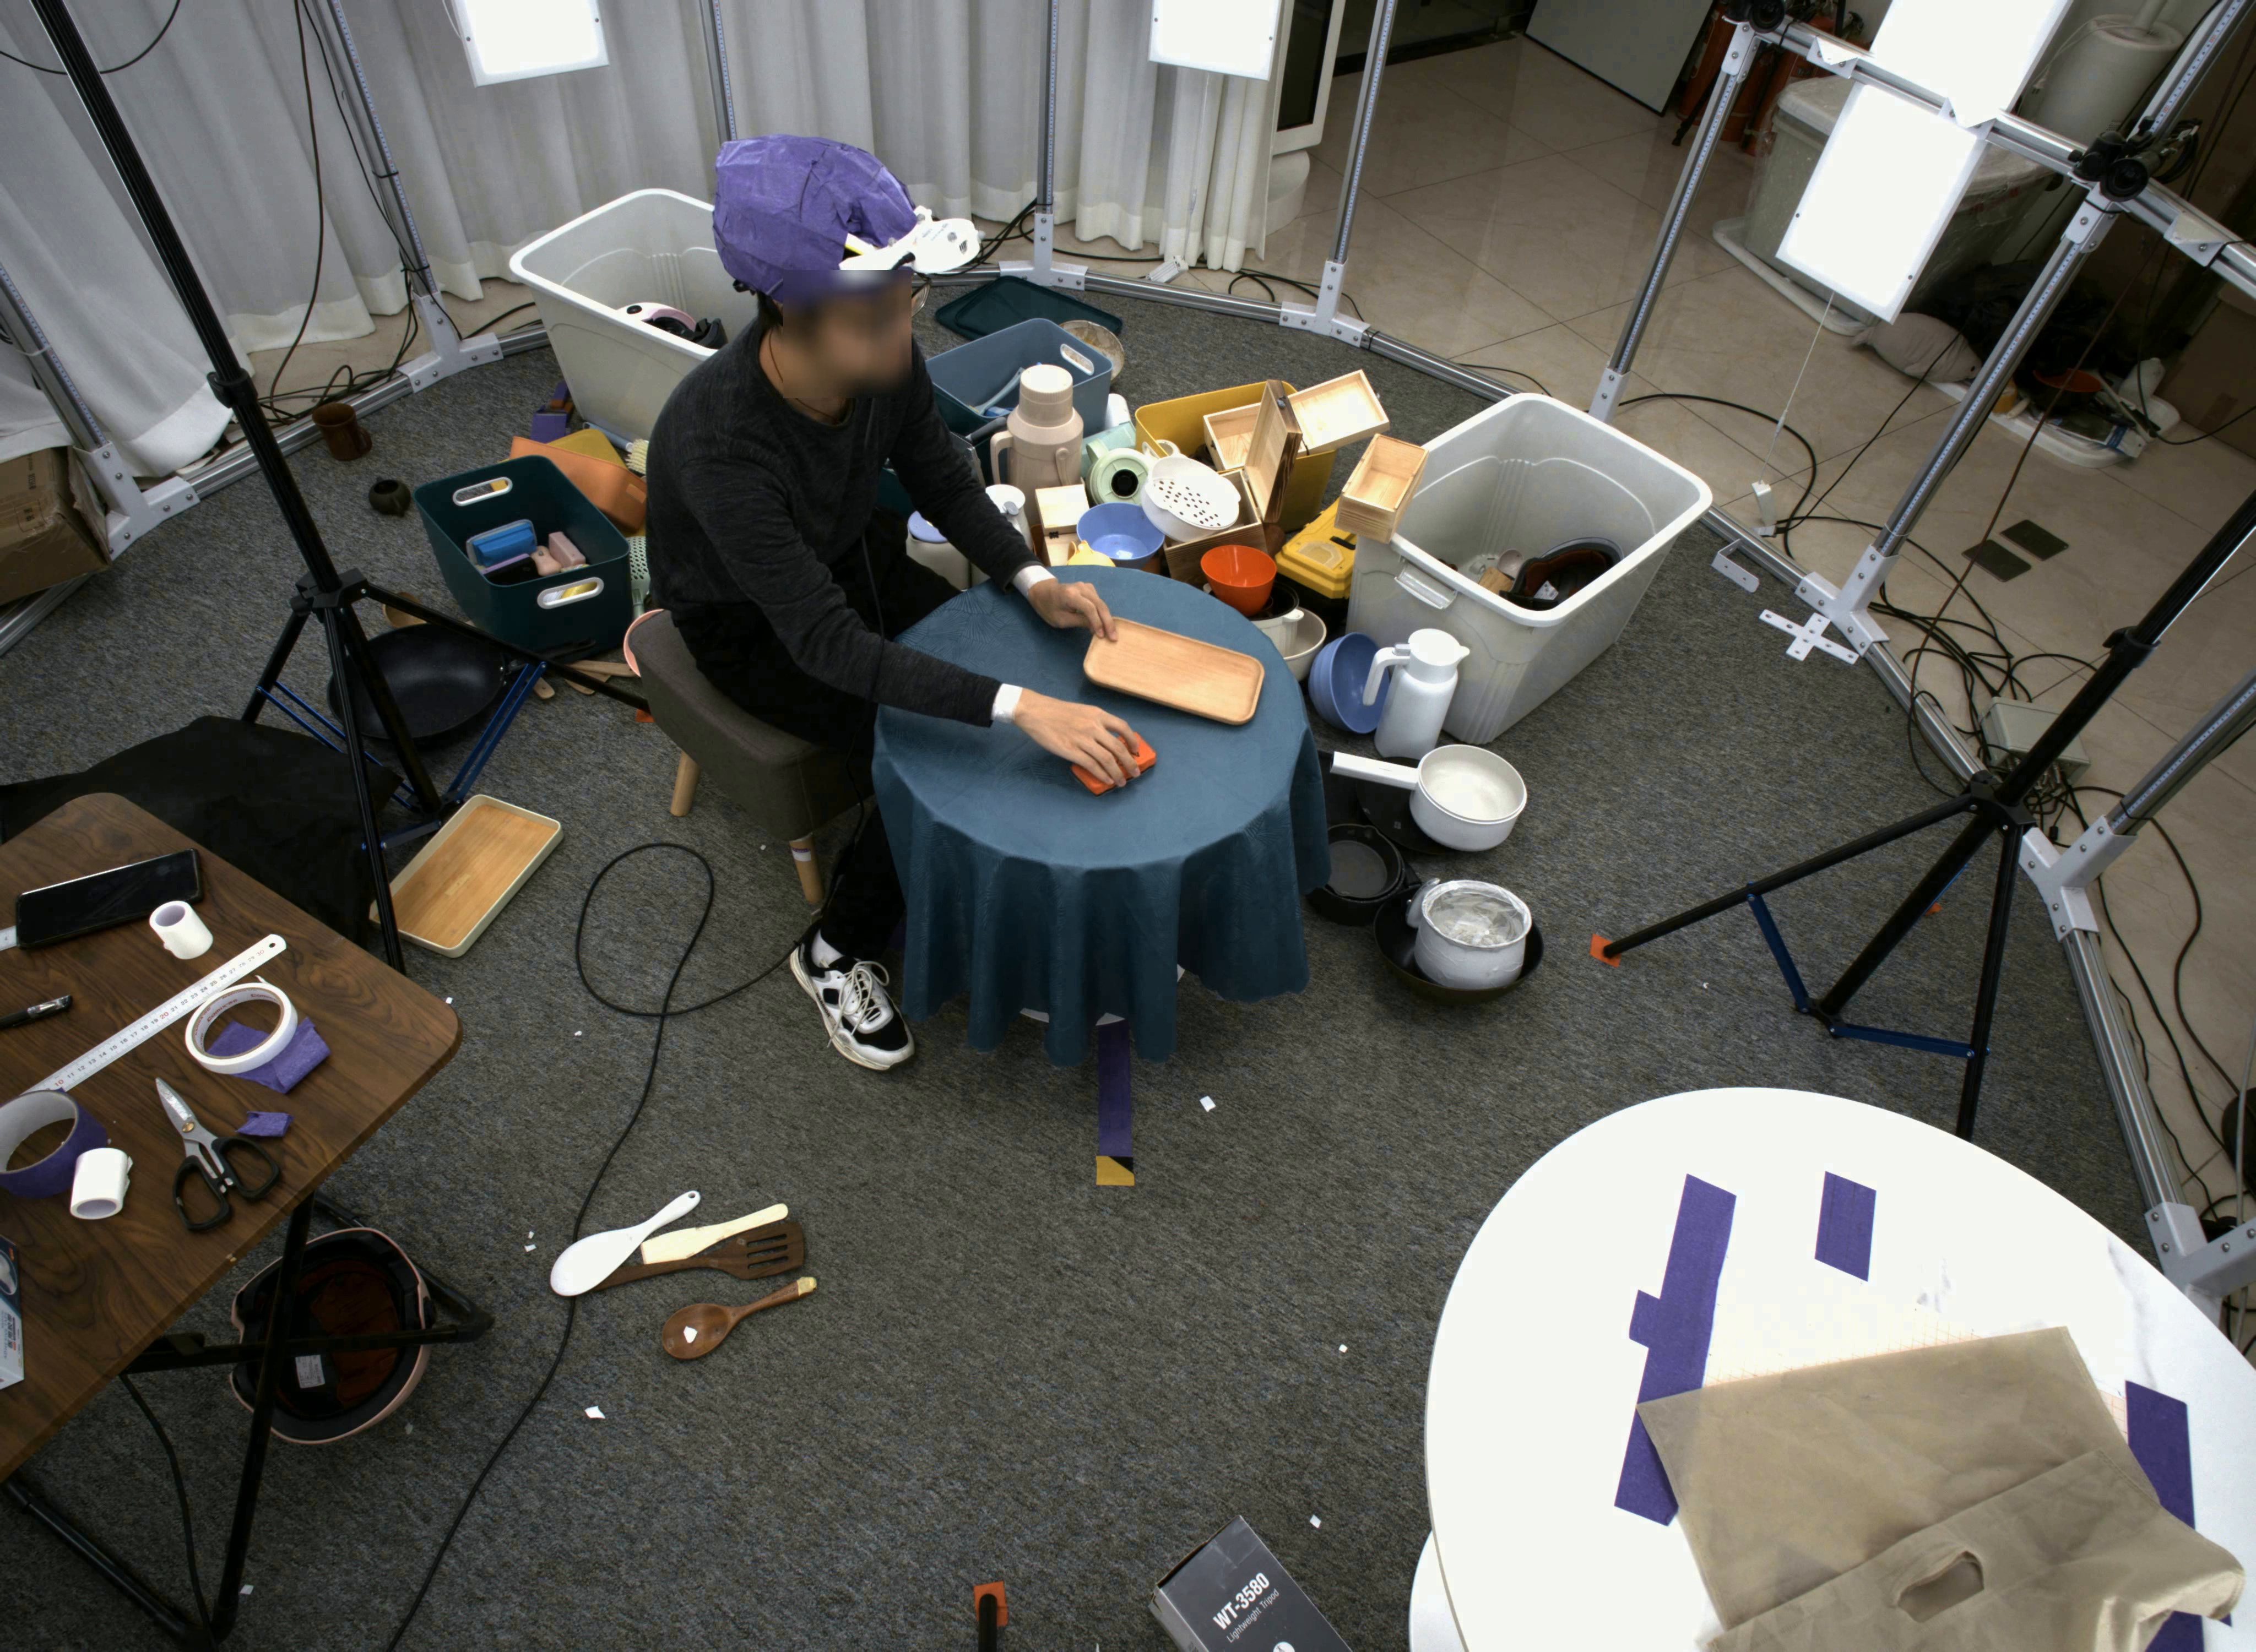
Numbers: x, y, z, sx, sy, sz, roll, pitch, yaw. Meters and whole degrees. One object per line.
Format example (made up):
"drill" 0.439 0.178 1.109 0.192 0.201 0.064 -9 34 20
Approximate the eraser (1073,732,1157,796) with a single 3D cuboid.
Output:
"eraser" -0.018 -0.085 1.727 0.108 0.022 0.060 -29 55 -25

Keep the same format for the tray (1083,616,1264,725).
"tray" 0.066 -0.223 1.836 0.251 0.022 0.133 17 53 4
